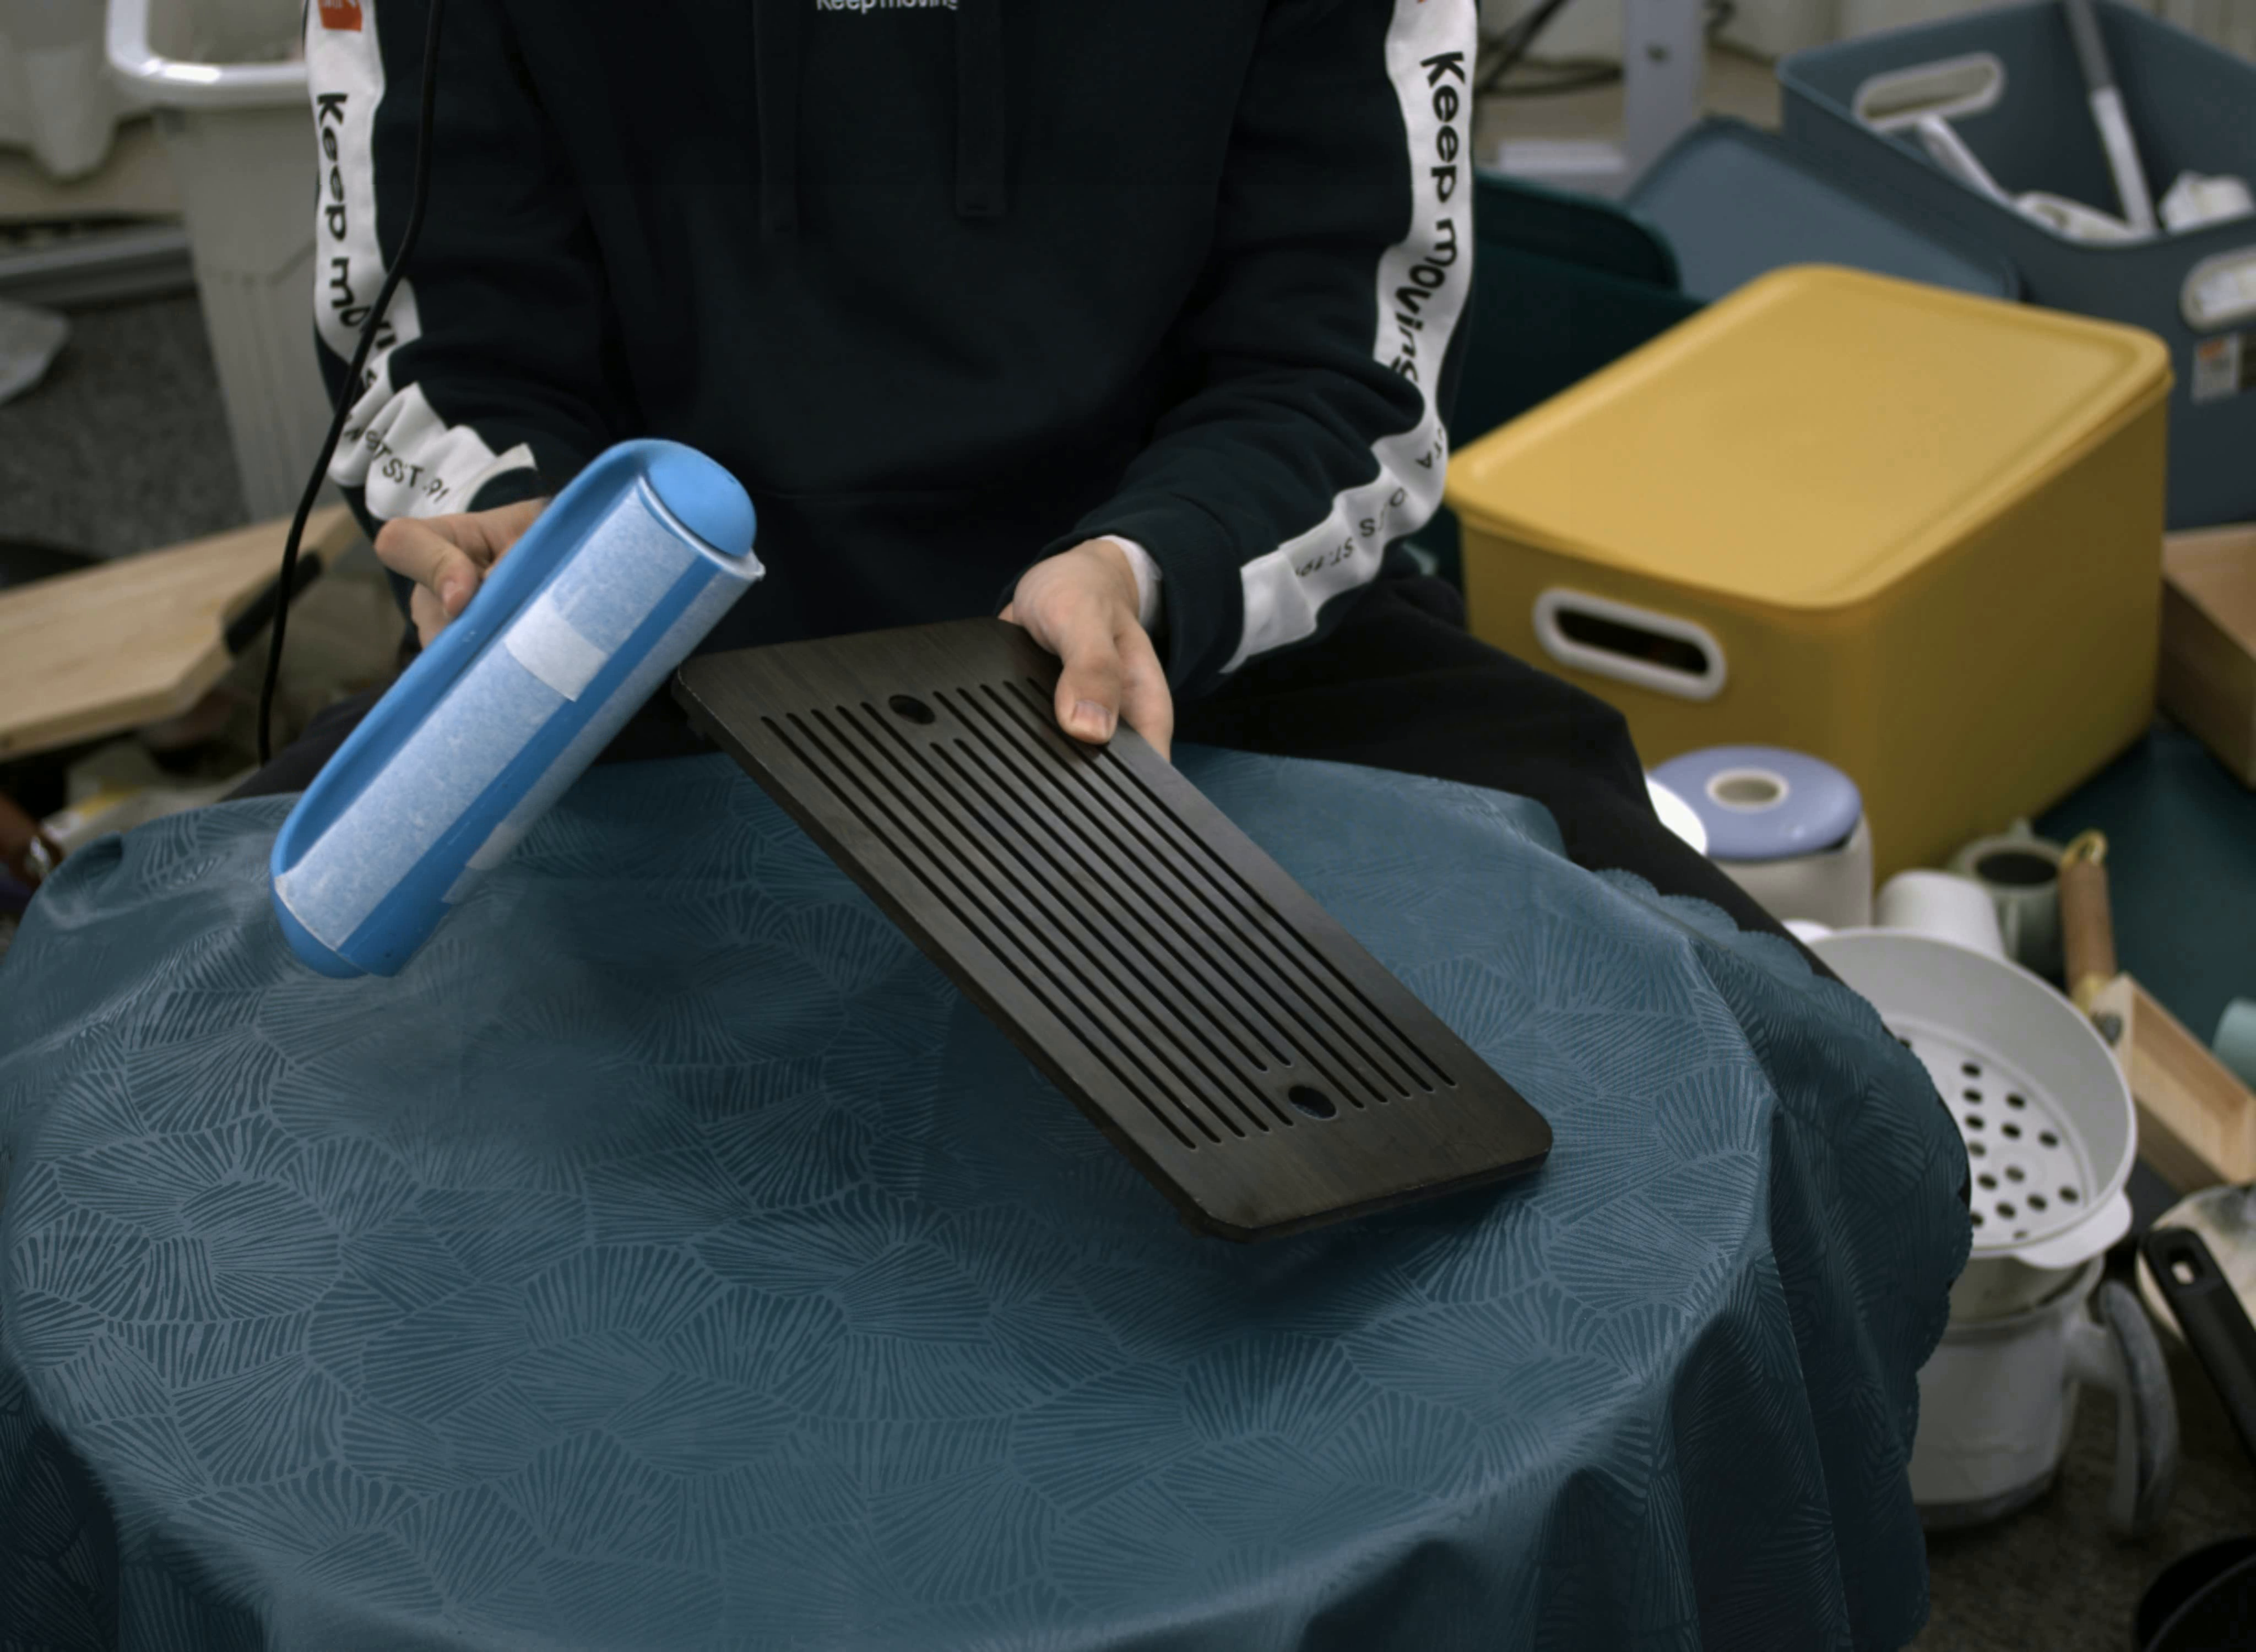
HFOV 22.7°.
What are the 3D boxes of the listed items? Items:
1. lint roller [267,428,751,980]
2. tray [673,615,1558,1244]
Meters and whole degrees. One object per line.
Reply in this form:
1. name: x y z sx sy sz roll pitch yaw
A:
1. lint roller: -0.212 -0.054 1.962 0.067 0.228 0.182 38 10 -13
2. tray: -0.007 0.031 1.881 0.171 0.018 0.308 -9 43 -46
